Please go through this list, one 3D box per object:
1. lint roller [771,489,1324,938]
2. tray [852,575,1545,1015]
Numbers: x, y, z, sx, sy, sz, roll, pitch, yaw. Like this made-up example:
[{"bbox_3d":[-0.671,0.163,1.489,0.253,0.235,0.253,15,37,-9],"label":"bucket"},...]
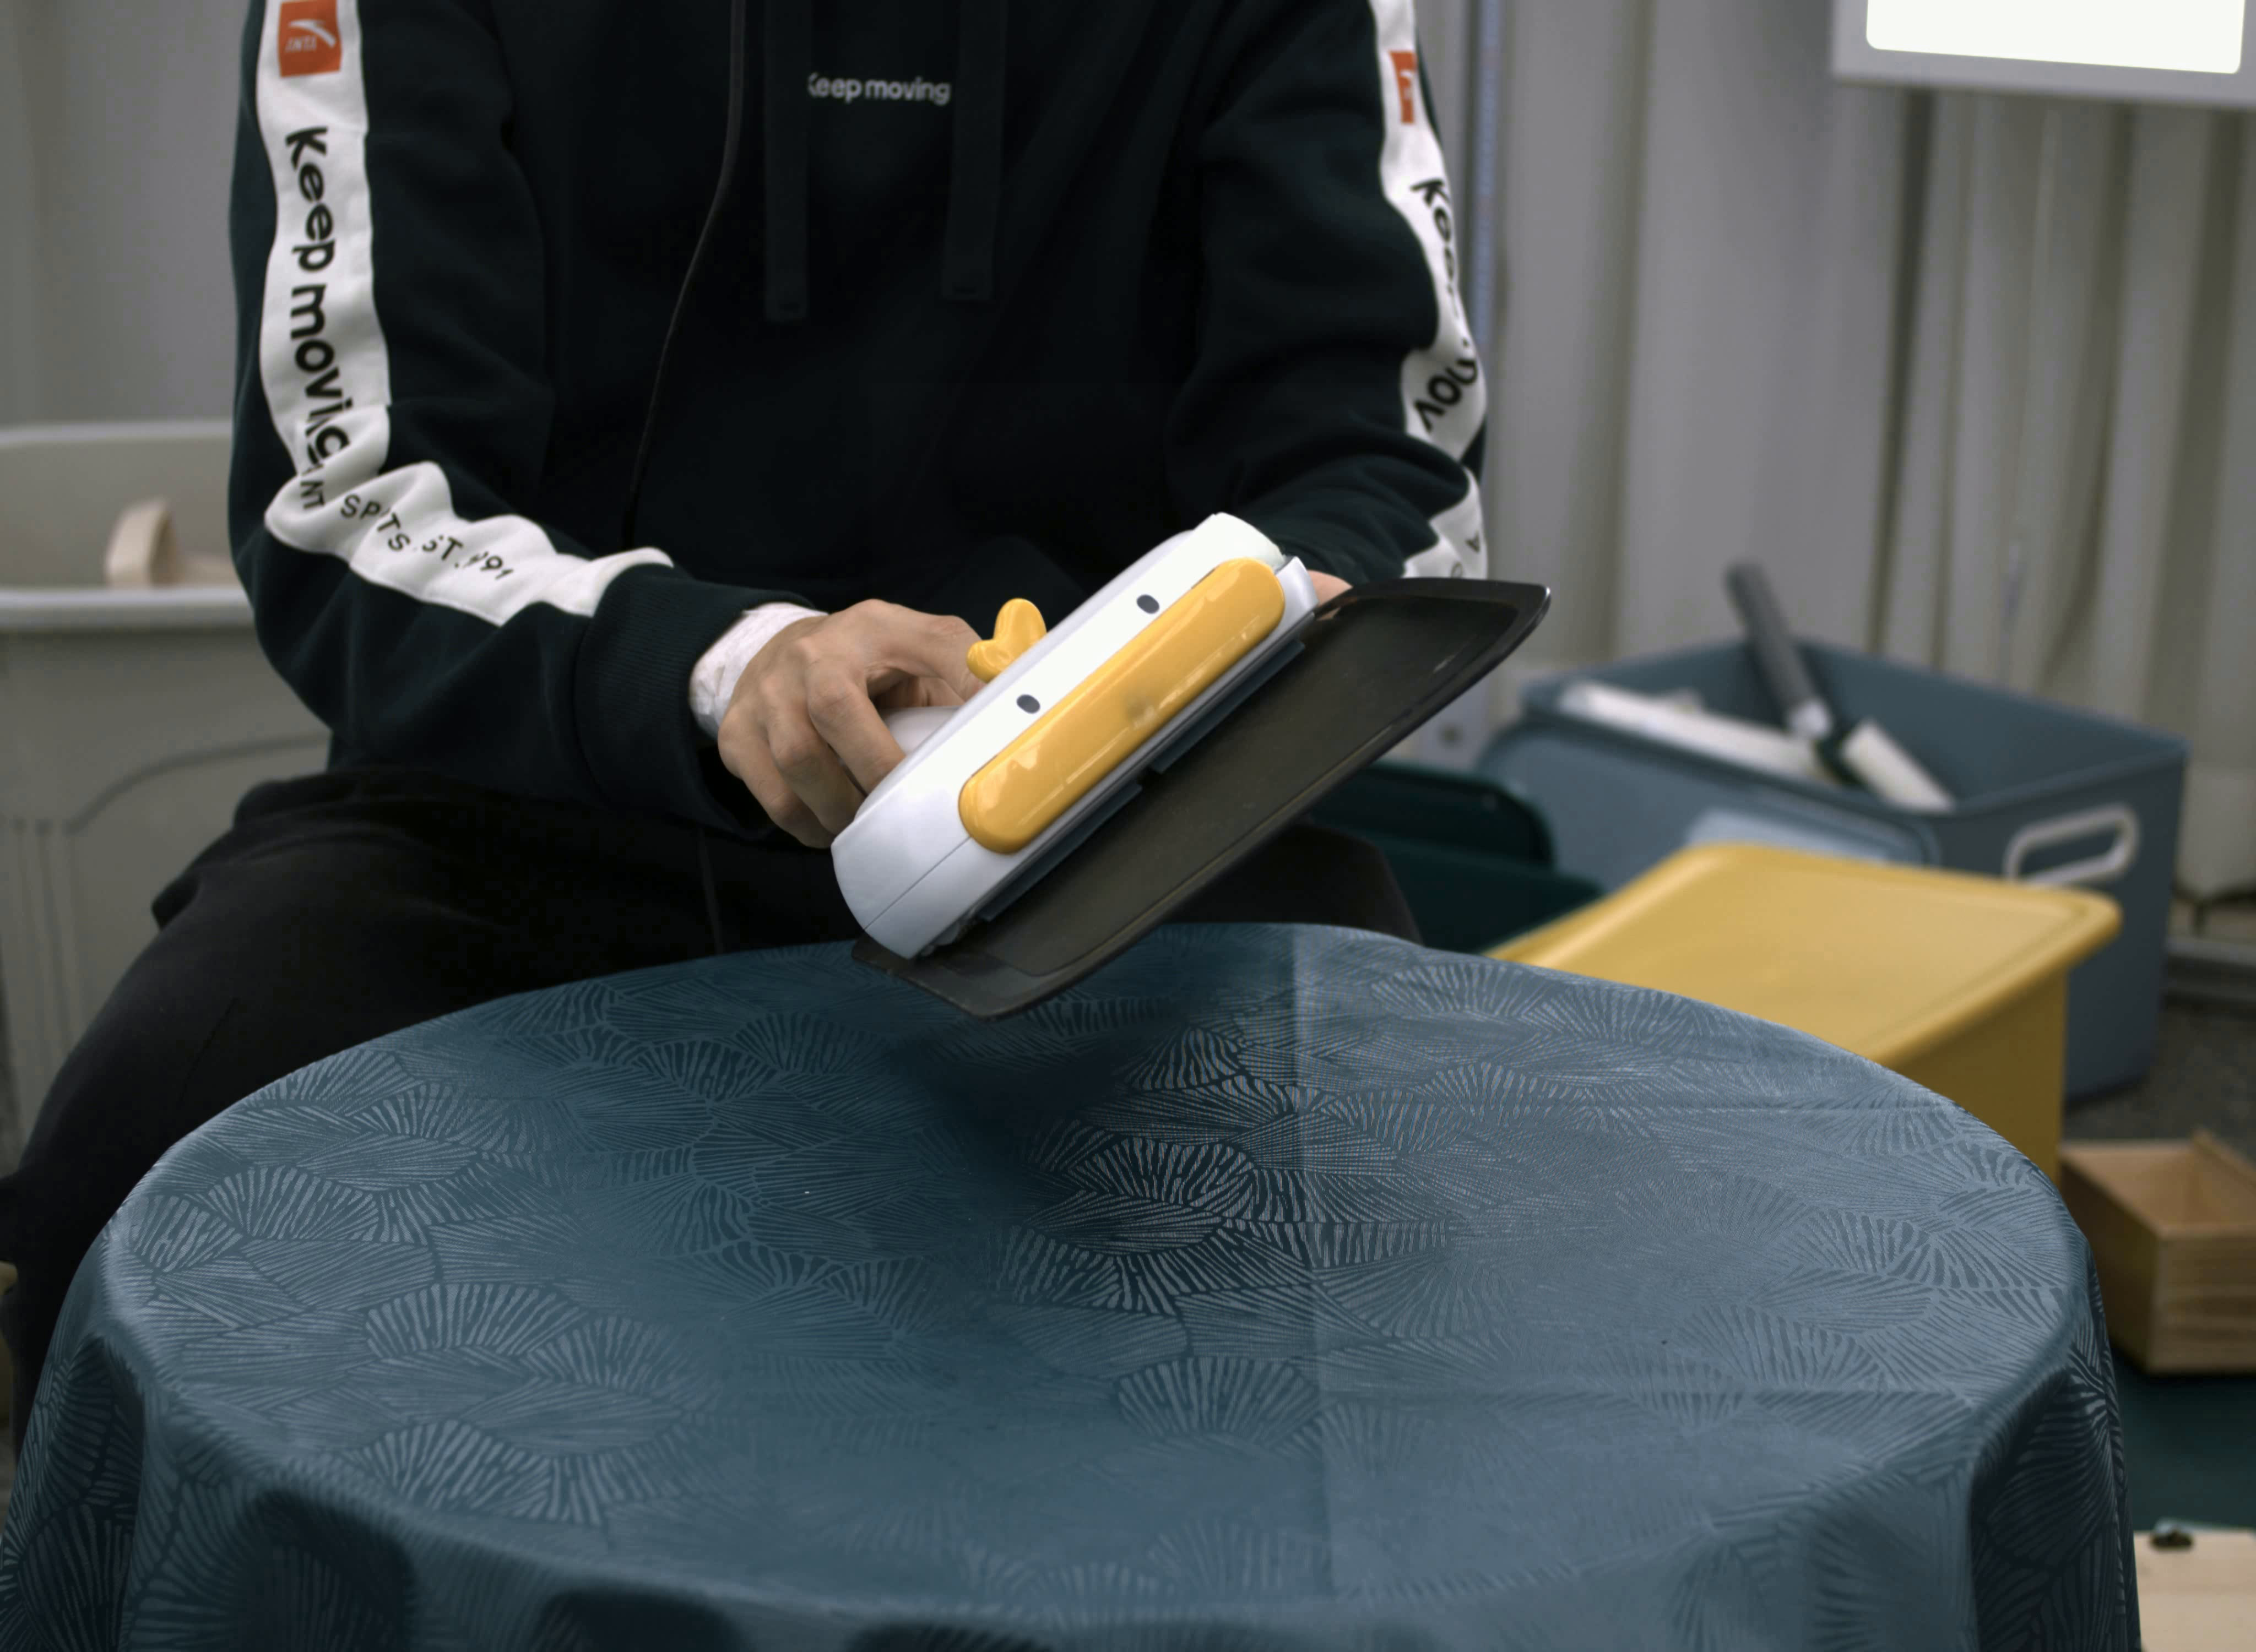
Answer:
[{"bbox_3d":[-0.047,-0.025,1.695,0.192,0.074,0.191,-48,12,-35],"label":"lint roller"},{"bbox_3d":[0.012,-0.015,1.630,0.211,0.010,0.323,-37,10,-8],"label":"tray"}]
